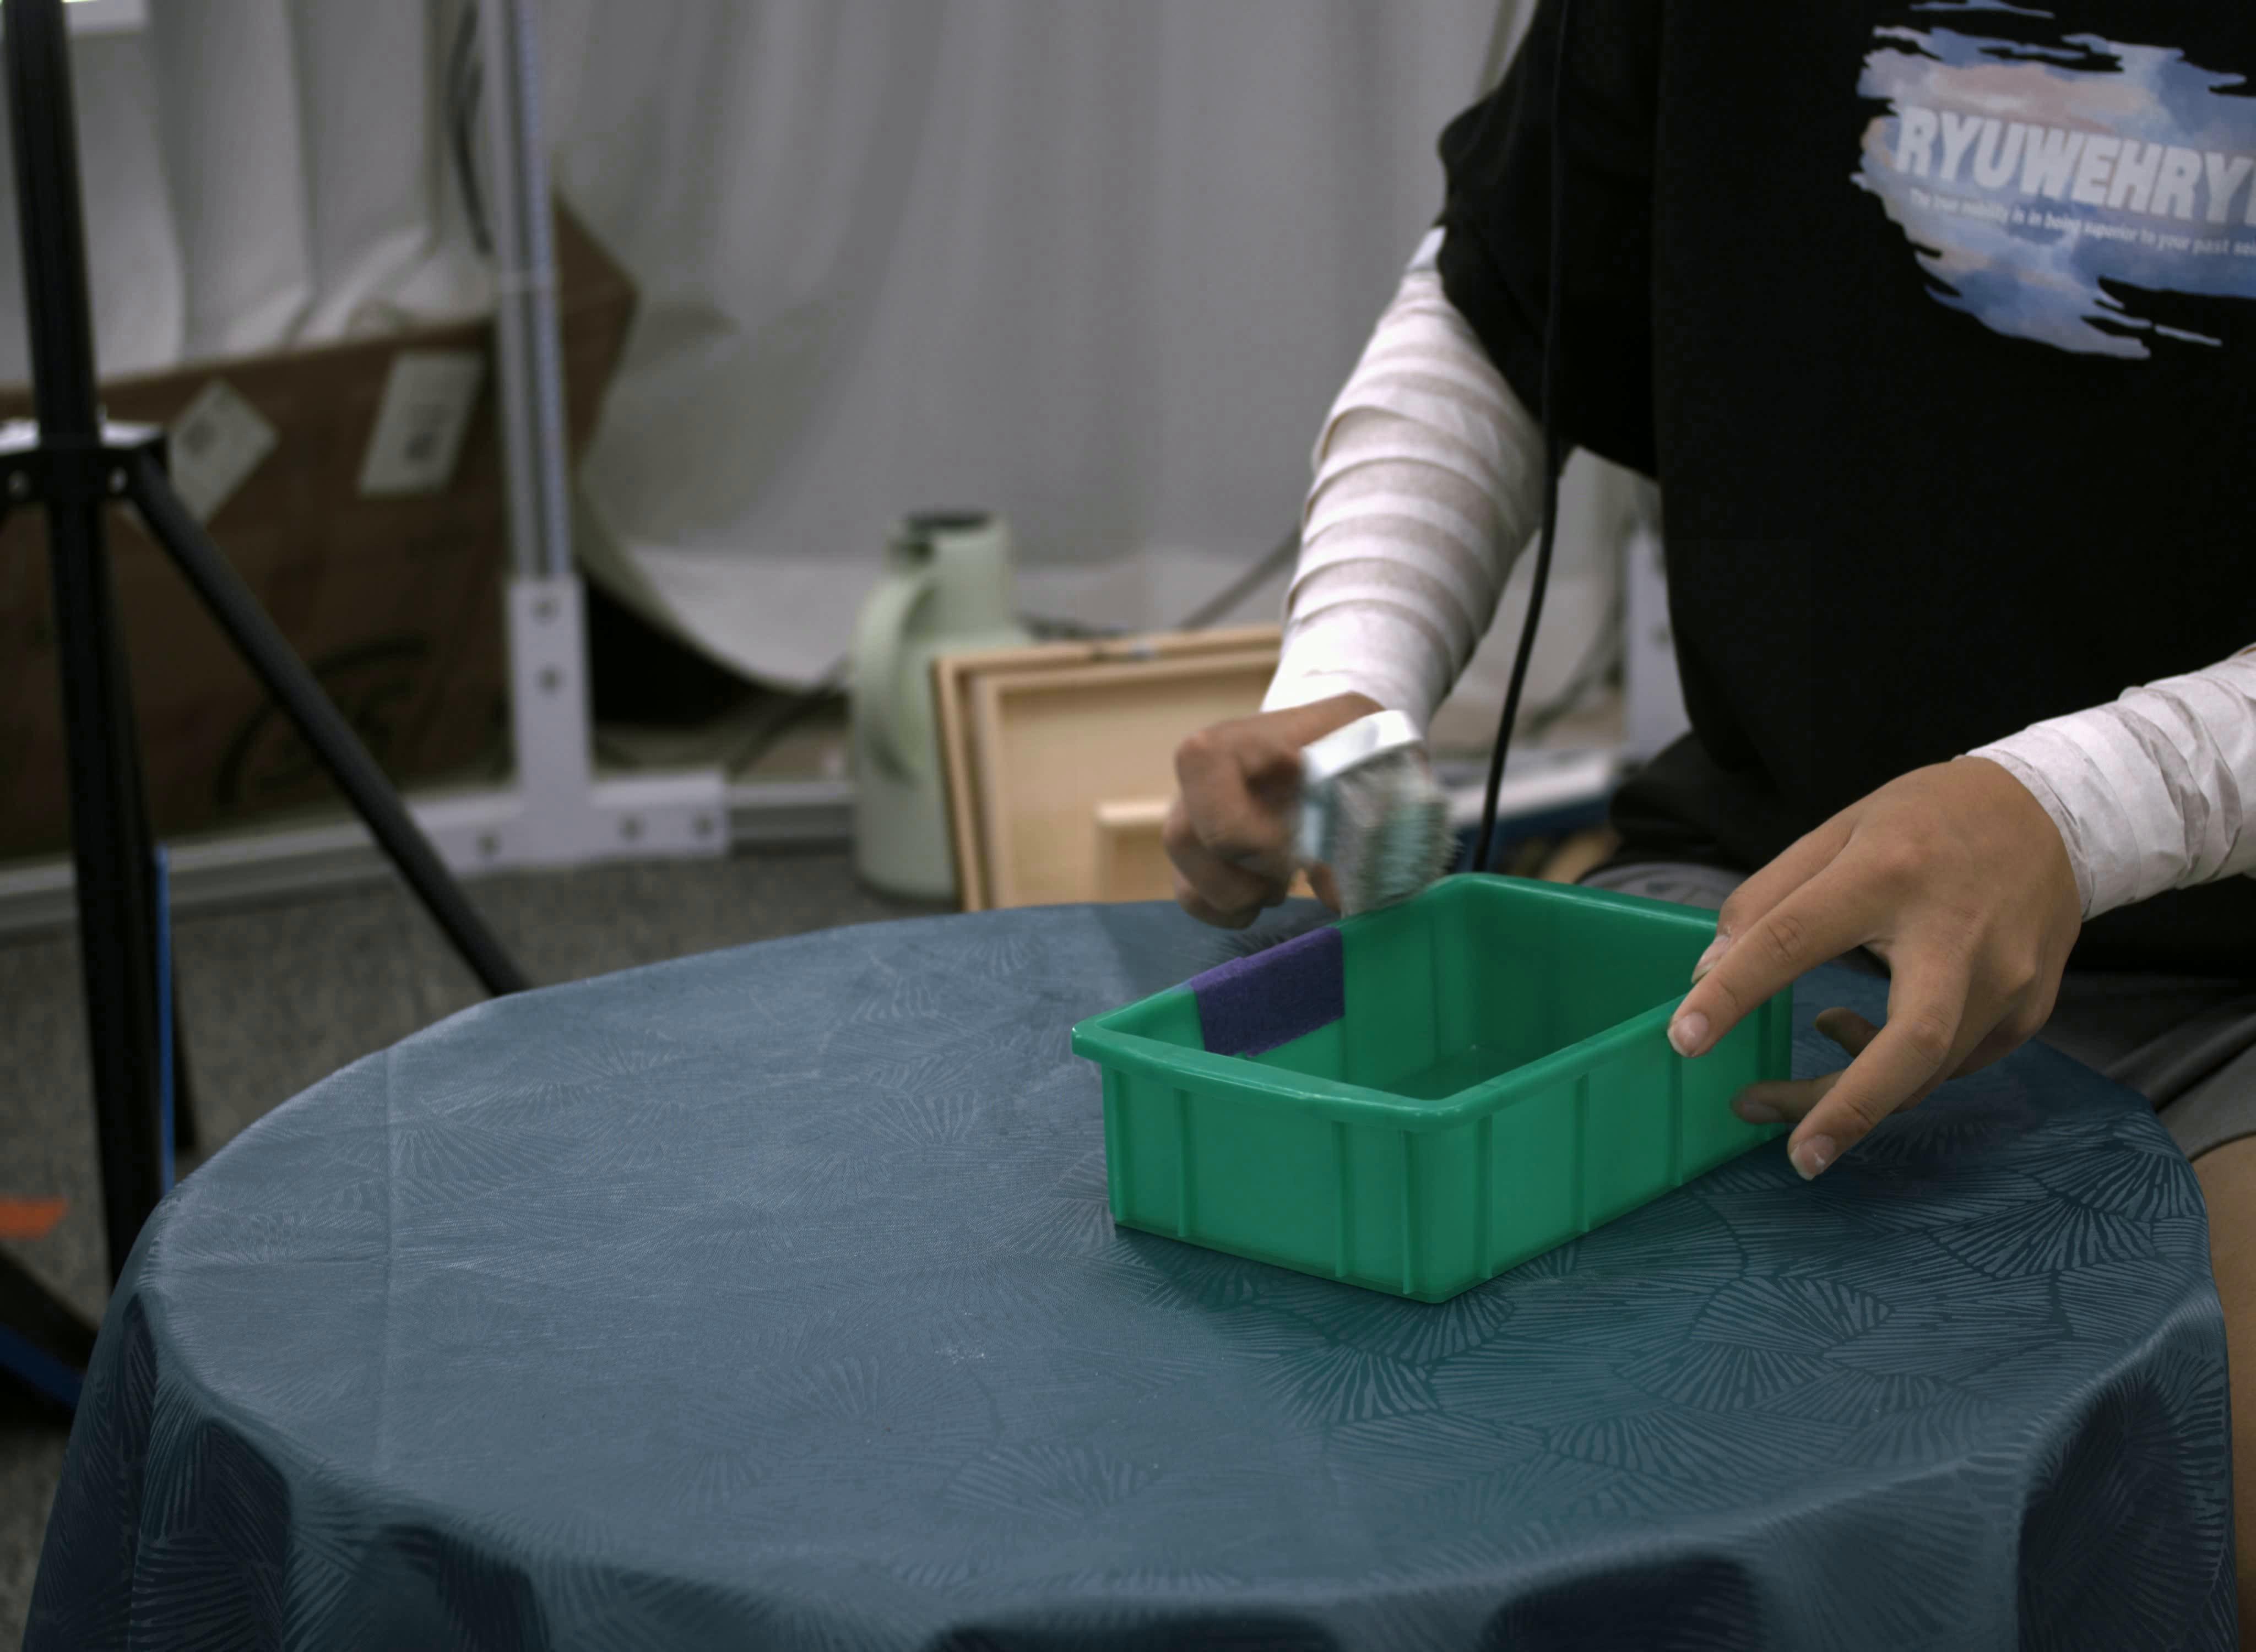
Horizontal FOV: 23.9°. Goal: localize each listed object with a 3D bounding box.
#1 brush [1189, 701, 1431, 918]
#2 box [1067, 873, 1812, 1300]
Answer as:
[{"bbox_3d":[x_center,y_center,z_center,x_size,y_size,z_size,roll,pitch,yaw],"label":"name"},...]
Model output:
[{"bbox_3d":[0.056,0.014,1.688,0.034,0.050,0.244,-26,-9,-13],"label":"brush"},{"bbox_3d":[0.095,0.074,1.546,0.141,0.065,0.206,6,18,39],"label":"box"}]
